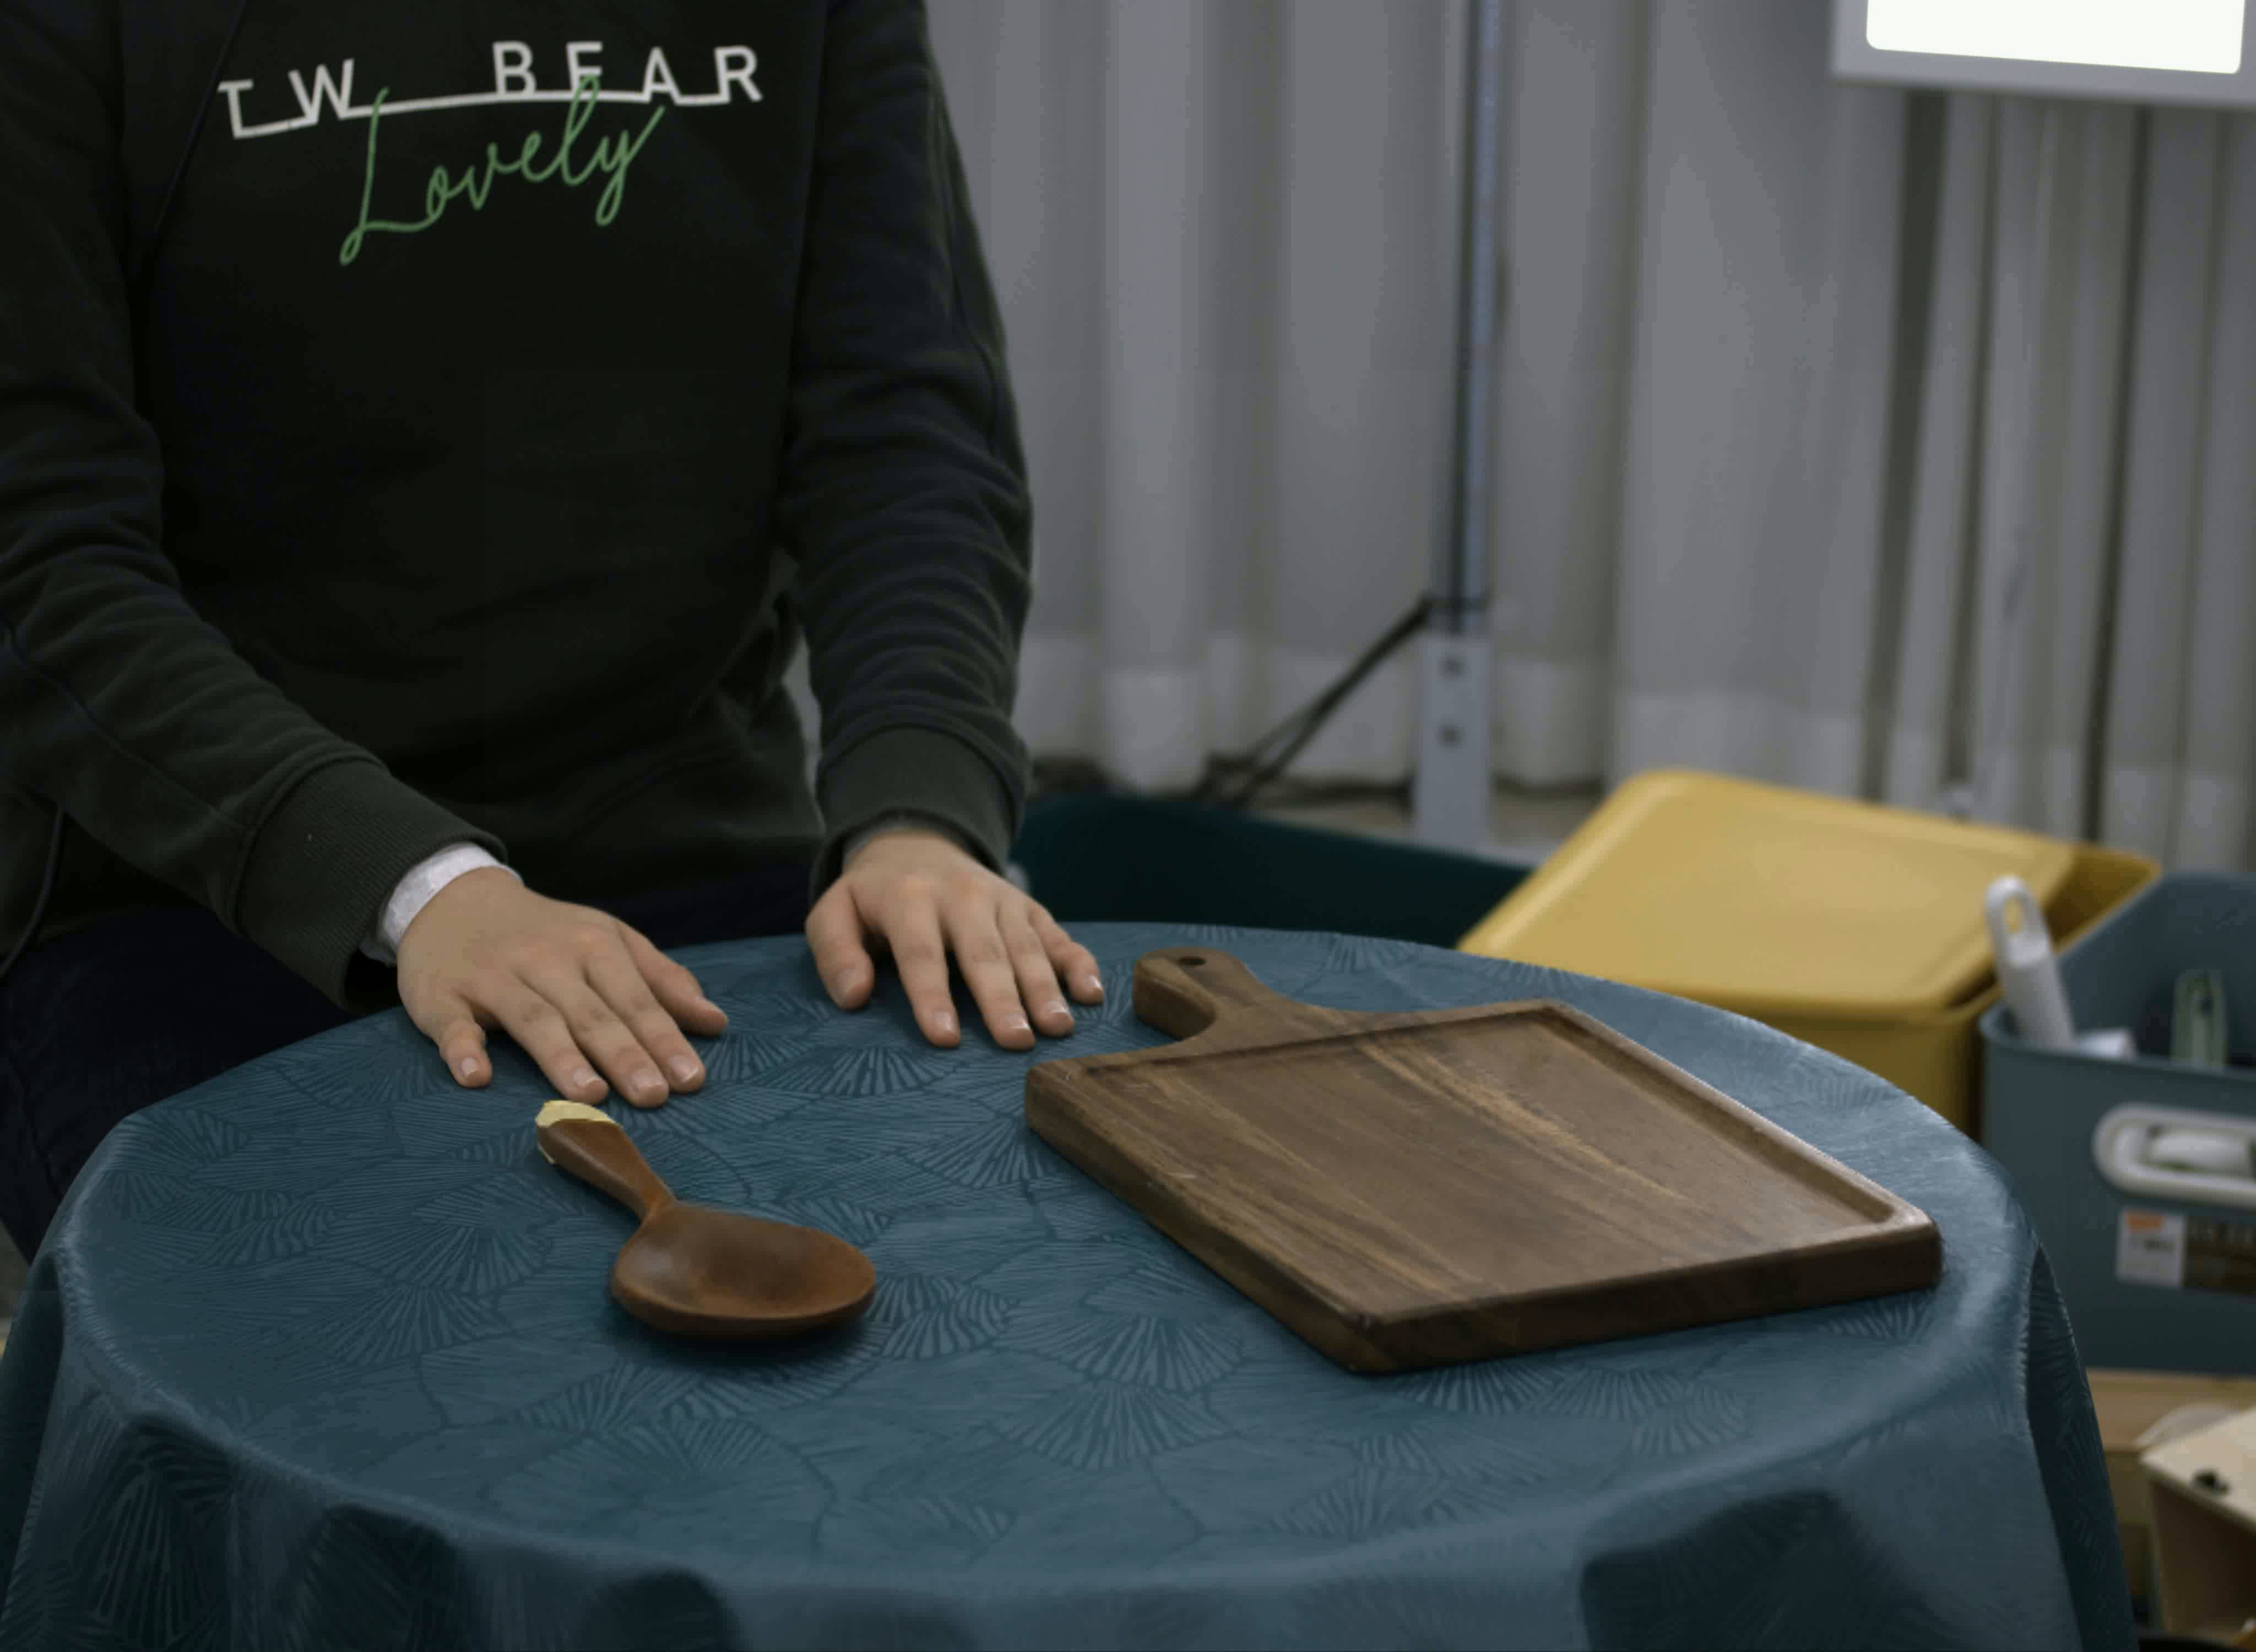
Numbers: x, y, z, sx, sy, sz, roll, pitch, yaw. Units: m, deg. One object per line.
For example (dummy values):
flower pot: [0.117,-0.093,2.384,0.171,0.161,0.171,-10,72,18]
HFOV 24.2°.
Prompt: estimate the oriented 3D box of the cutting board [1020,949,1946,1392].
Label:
cutting board: [0.084,0.095,1.660,0.202,0.023,0.348,-8,18,-23]

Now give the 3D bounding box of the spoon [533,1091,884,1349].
spoon: [-0.135,0.118,1.570,0.076,0.017,0.213,-8,19,-23]
